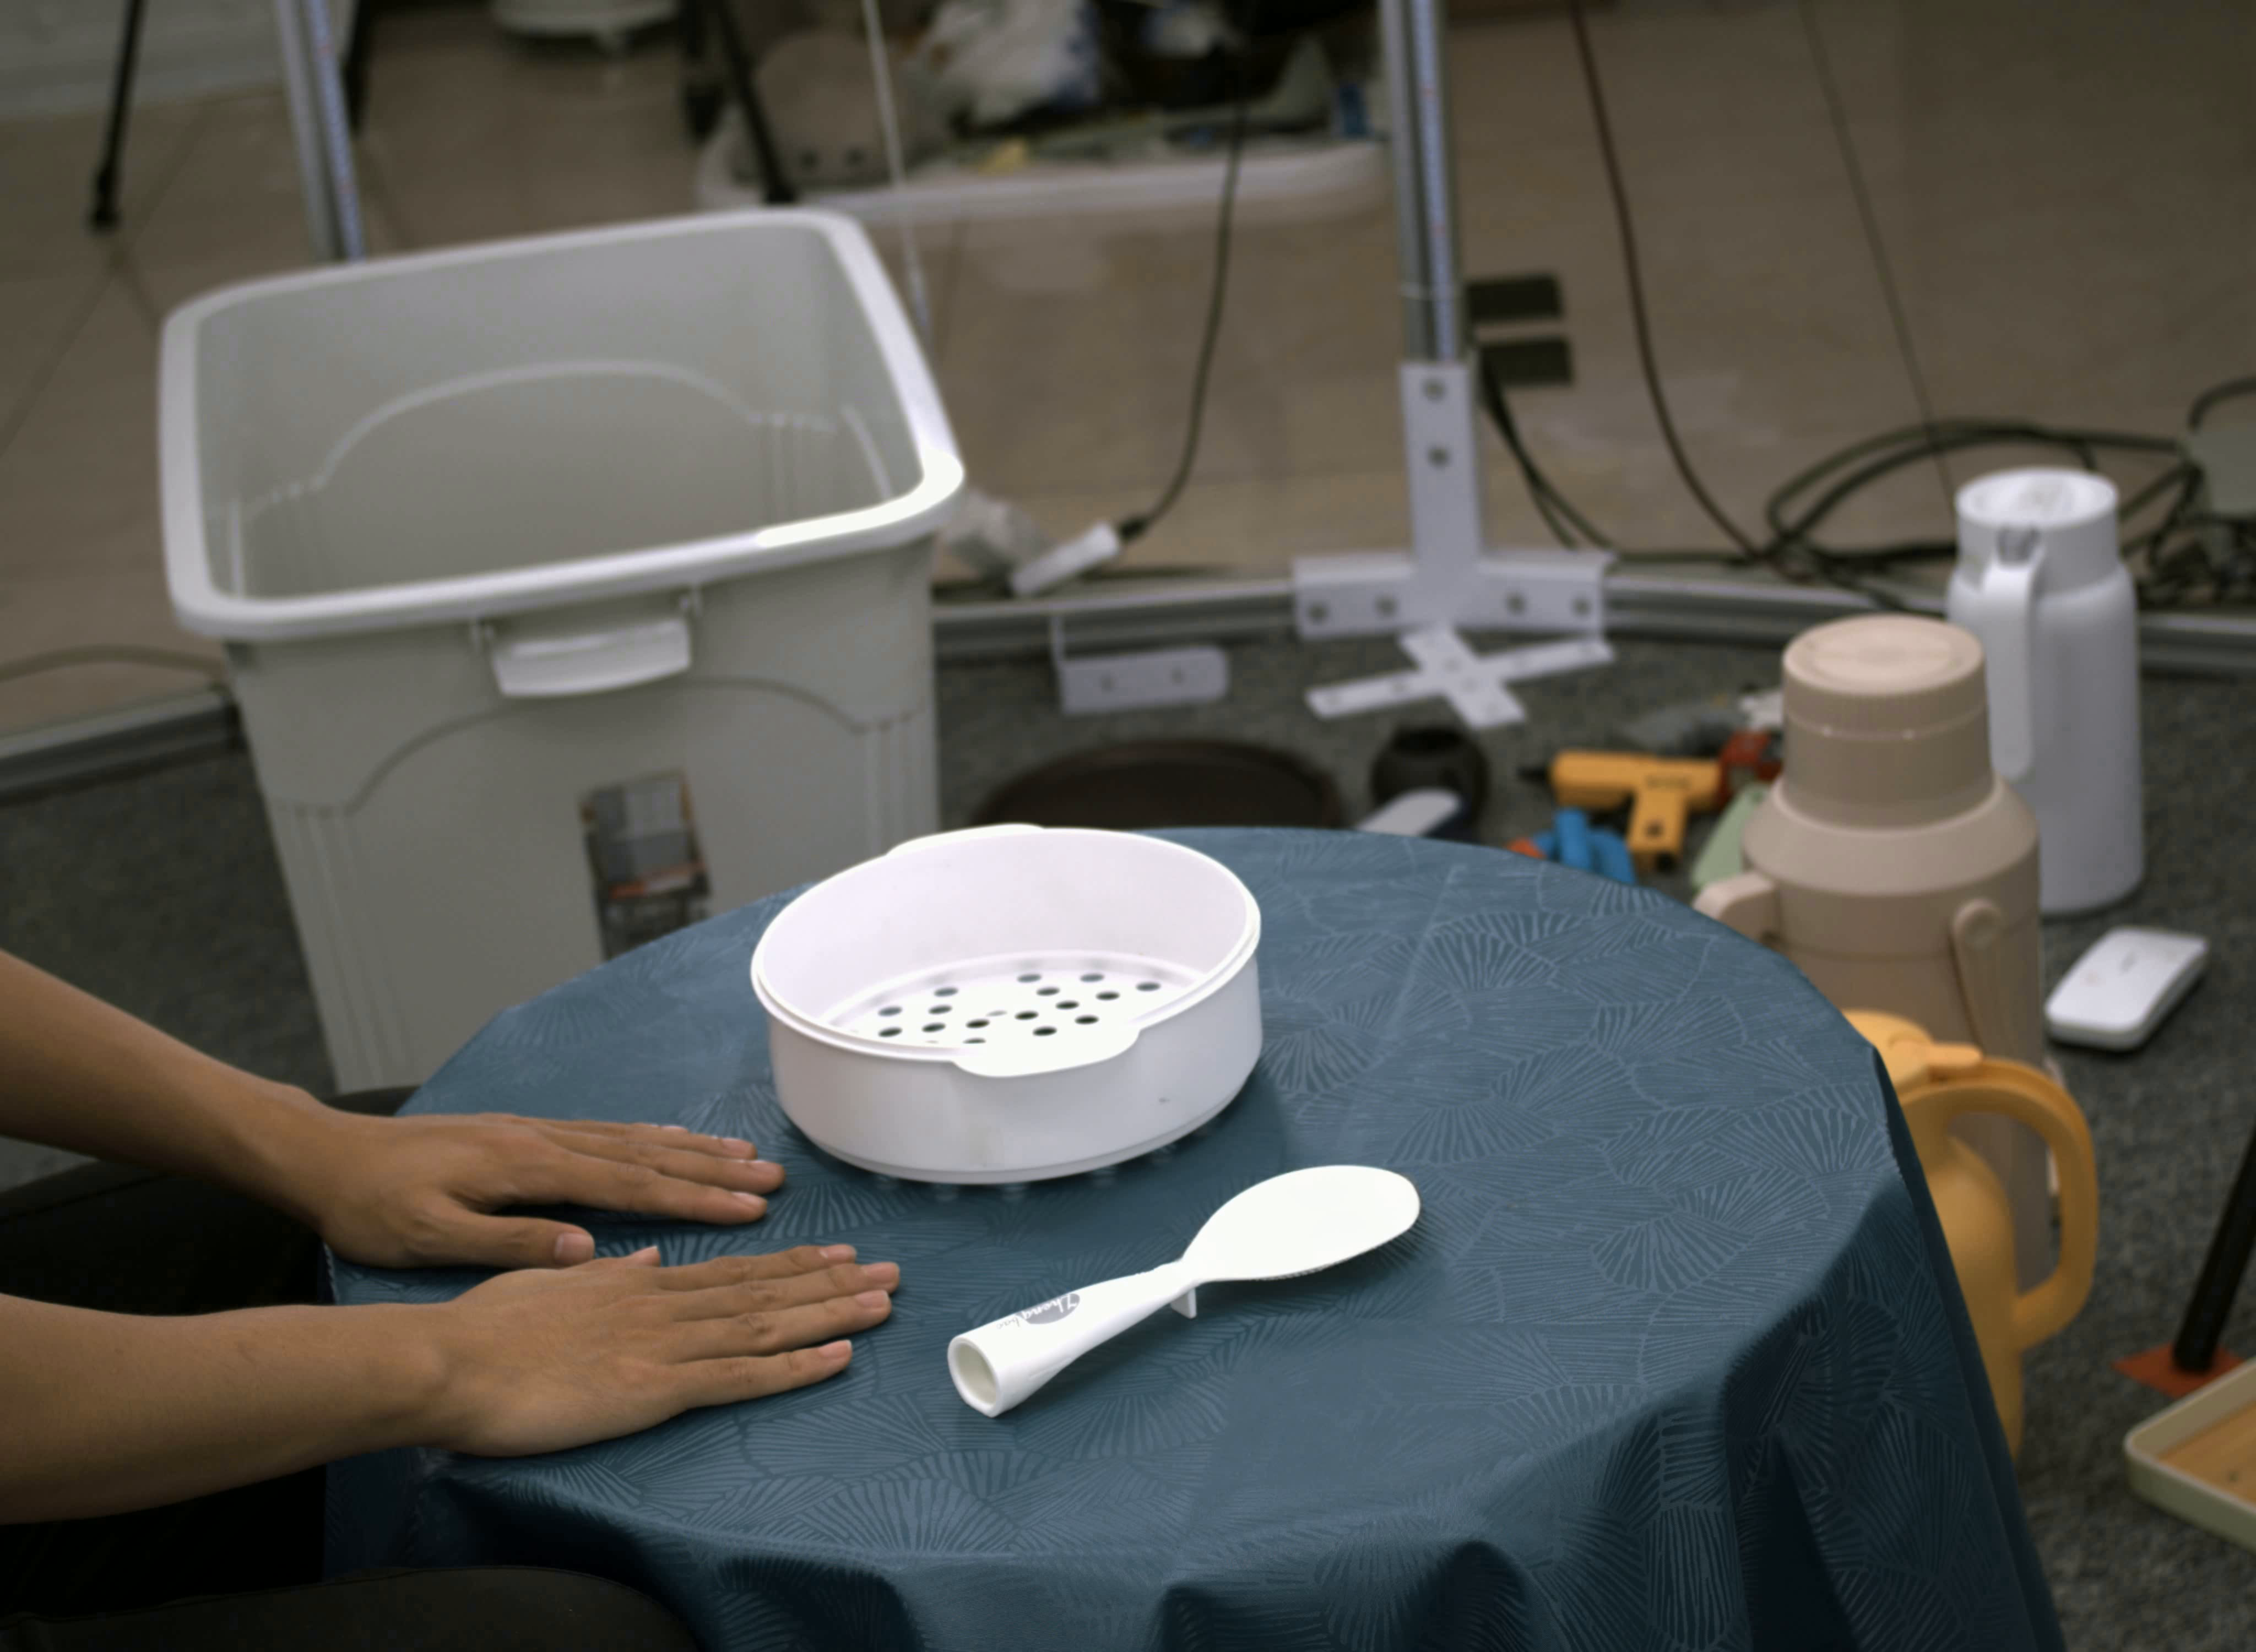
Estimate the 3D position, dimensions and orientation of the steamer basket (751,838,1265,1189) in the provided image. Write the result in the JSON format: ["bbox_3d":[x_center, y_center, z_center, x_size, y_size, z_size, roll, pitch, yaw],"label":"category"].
[{"bbox_3d":[-0.045,0.074,2.224,0.201,0.070,0.227,-8,24,-7],"label":"steamer basket"}]

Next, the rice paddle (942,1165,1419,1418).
[{"bbox_3d":[0.022,0.162,2.061,0.204,0.030,0.068,-23,31,-32],"label":"rice paddle"}]
